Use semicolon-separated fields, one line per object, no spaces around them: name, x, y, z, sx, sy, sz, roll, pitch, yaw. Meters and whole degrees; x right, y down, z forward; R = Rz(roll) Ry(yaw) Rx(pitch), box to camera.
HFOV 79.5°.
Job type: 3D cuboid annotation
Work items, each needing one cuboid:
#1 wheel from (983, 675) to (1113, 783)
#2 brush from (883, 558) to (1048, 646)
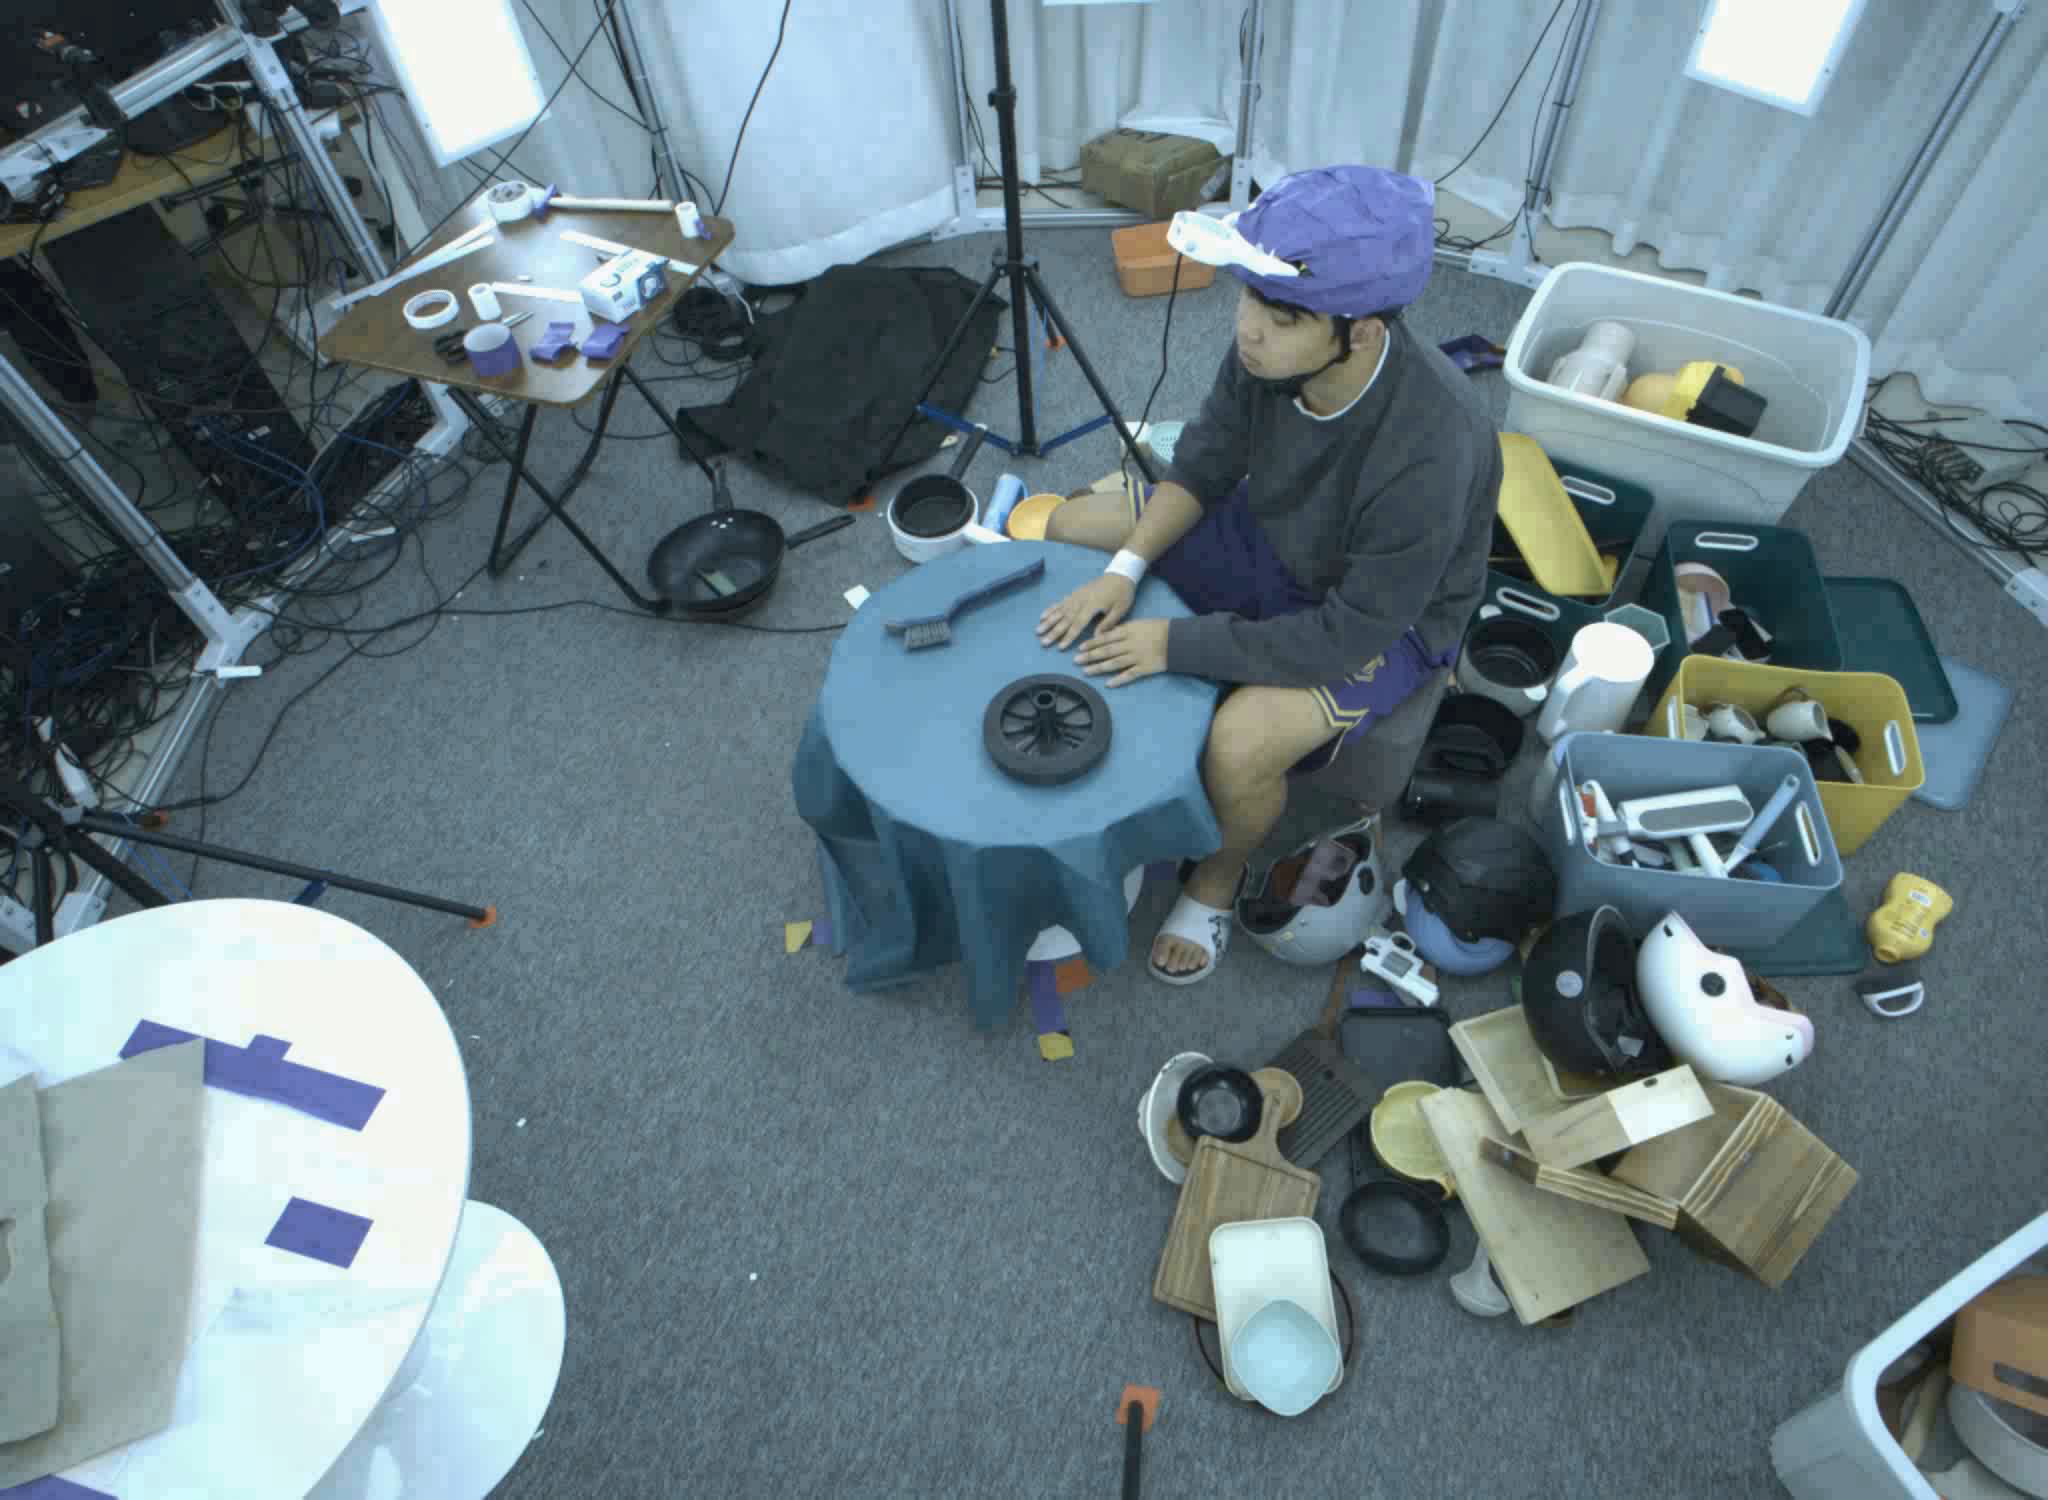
wheel;0.033;-0.046;1.774;0.190;0.080;0.185;-1;54;2
brush;-0.088;-0.245;1.947;0.275;0.034;0.094;-33;59;-18
